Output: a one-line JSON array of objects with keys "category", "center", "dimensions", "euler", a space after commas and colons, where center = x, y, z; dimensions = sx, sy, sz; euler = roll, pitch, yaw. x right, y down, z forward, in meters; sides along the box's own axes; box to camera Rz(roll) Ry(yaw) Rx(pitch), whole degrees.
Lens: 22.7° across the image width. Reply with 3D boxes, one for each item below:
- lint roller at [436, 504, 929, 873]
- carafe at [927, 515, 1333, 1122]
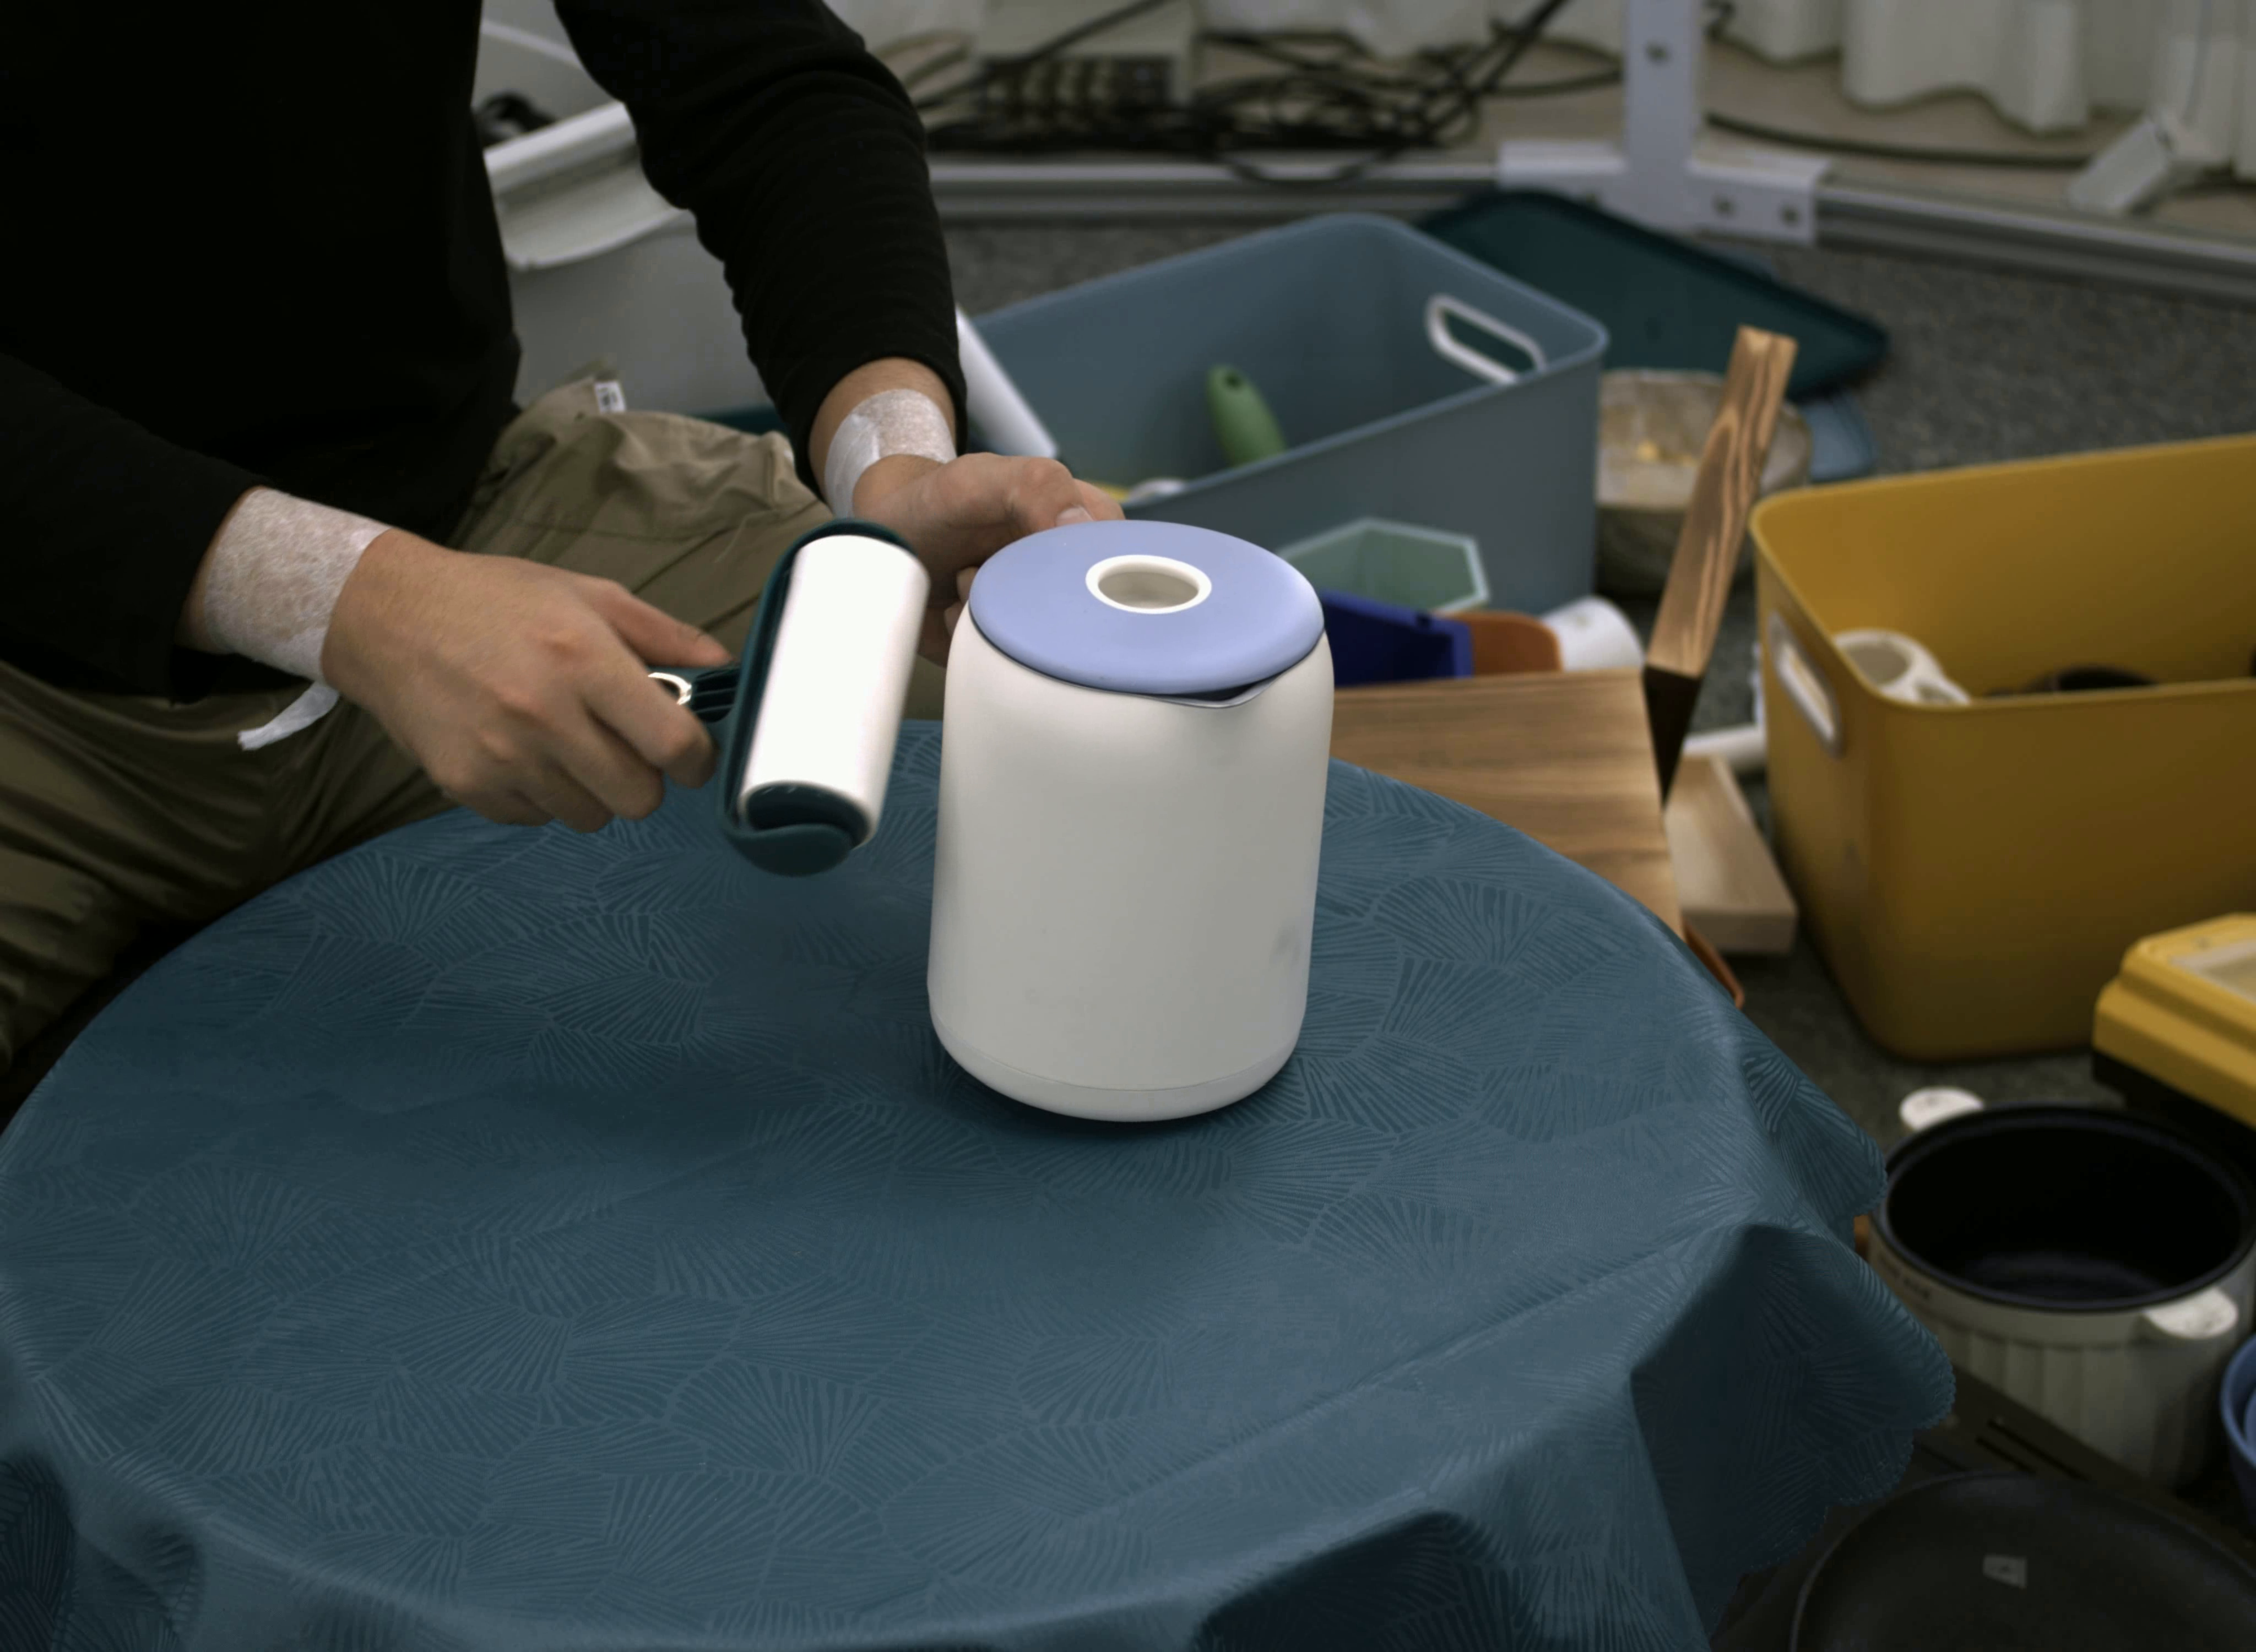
[{"category": "lint roller", "center": [-0.161, -0.045, 1.922], "dimensions": [0.178, 0.048, 0.137], "euler": [-1, 55, 17]}, {"category": "carafe", "center": [-0.010, -0.014, 1.923], "dimensions": [0.133, 0.180, 0.192], "euler": [-8, 28, -24]}]
